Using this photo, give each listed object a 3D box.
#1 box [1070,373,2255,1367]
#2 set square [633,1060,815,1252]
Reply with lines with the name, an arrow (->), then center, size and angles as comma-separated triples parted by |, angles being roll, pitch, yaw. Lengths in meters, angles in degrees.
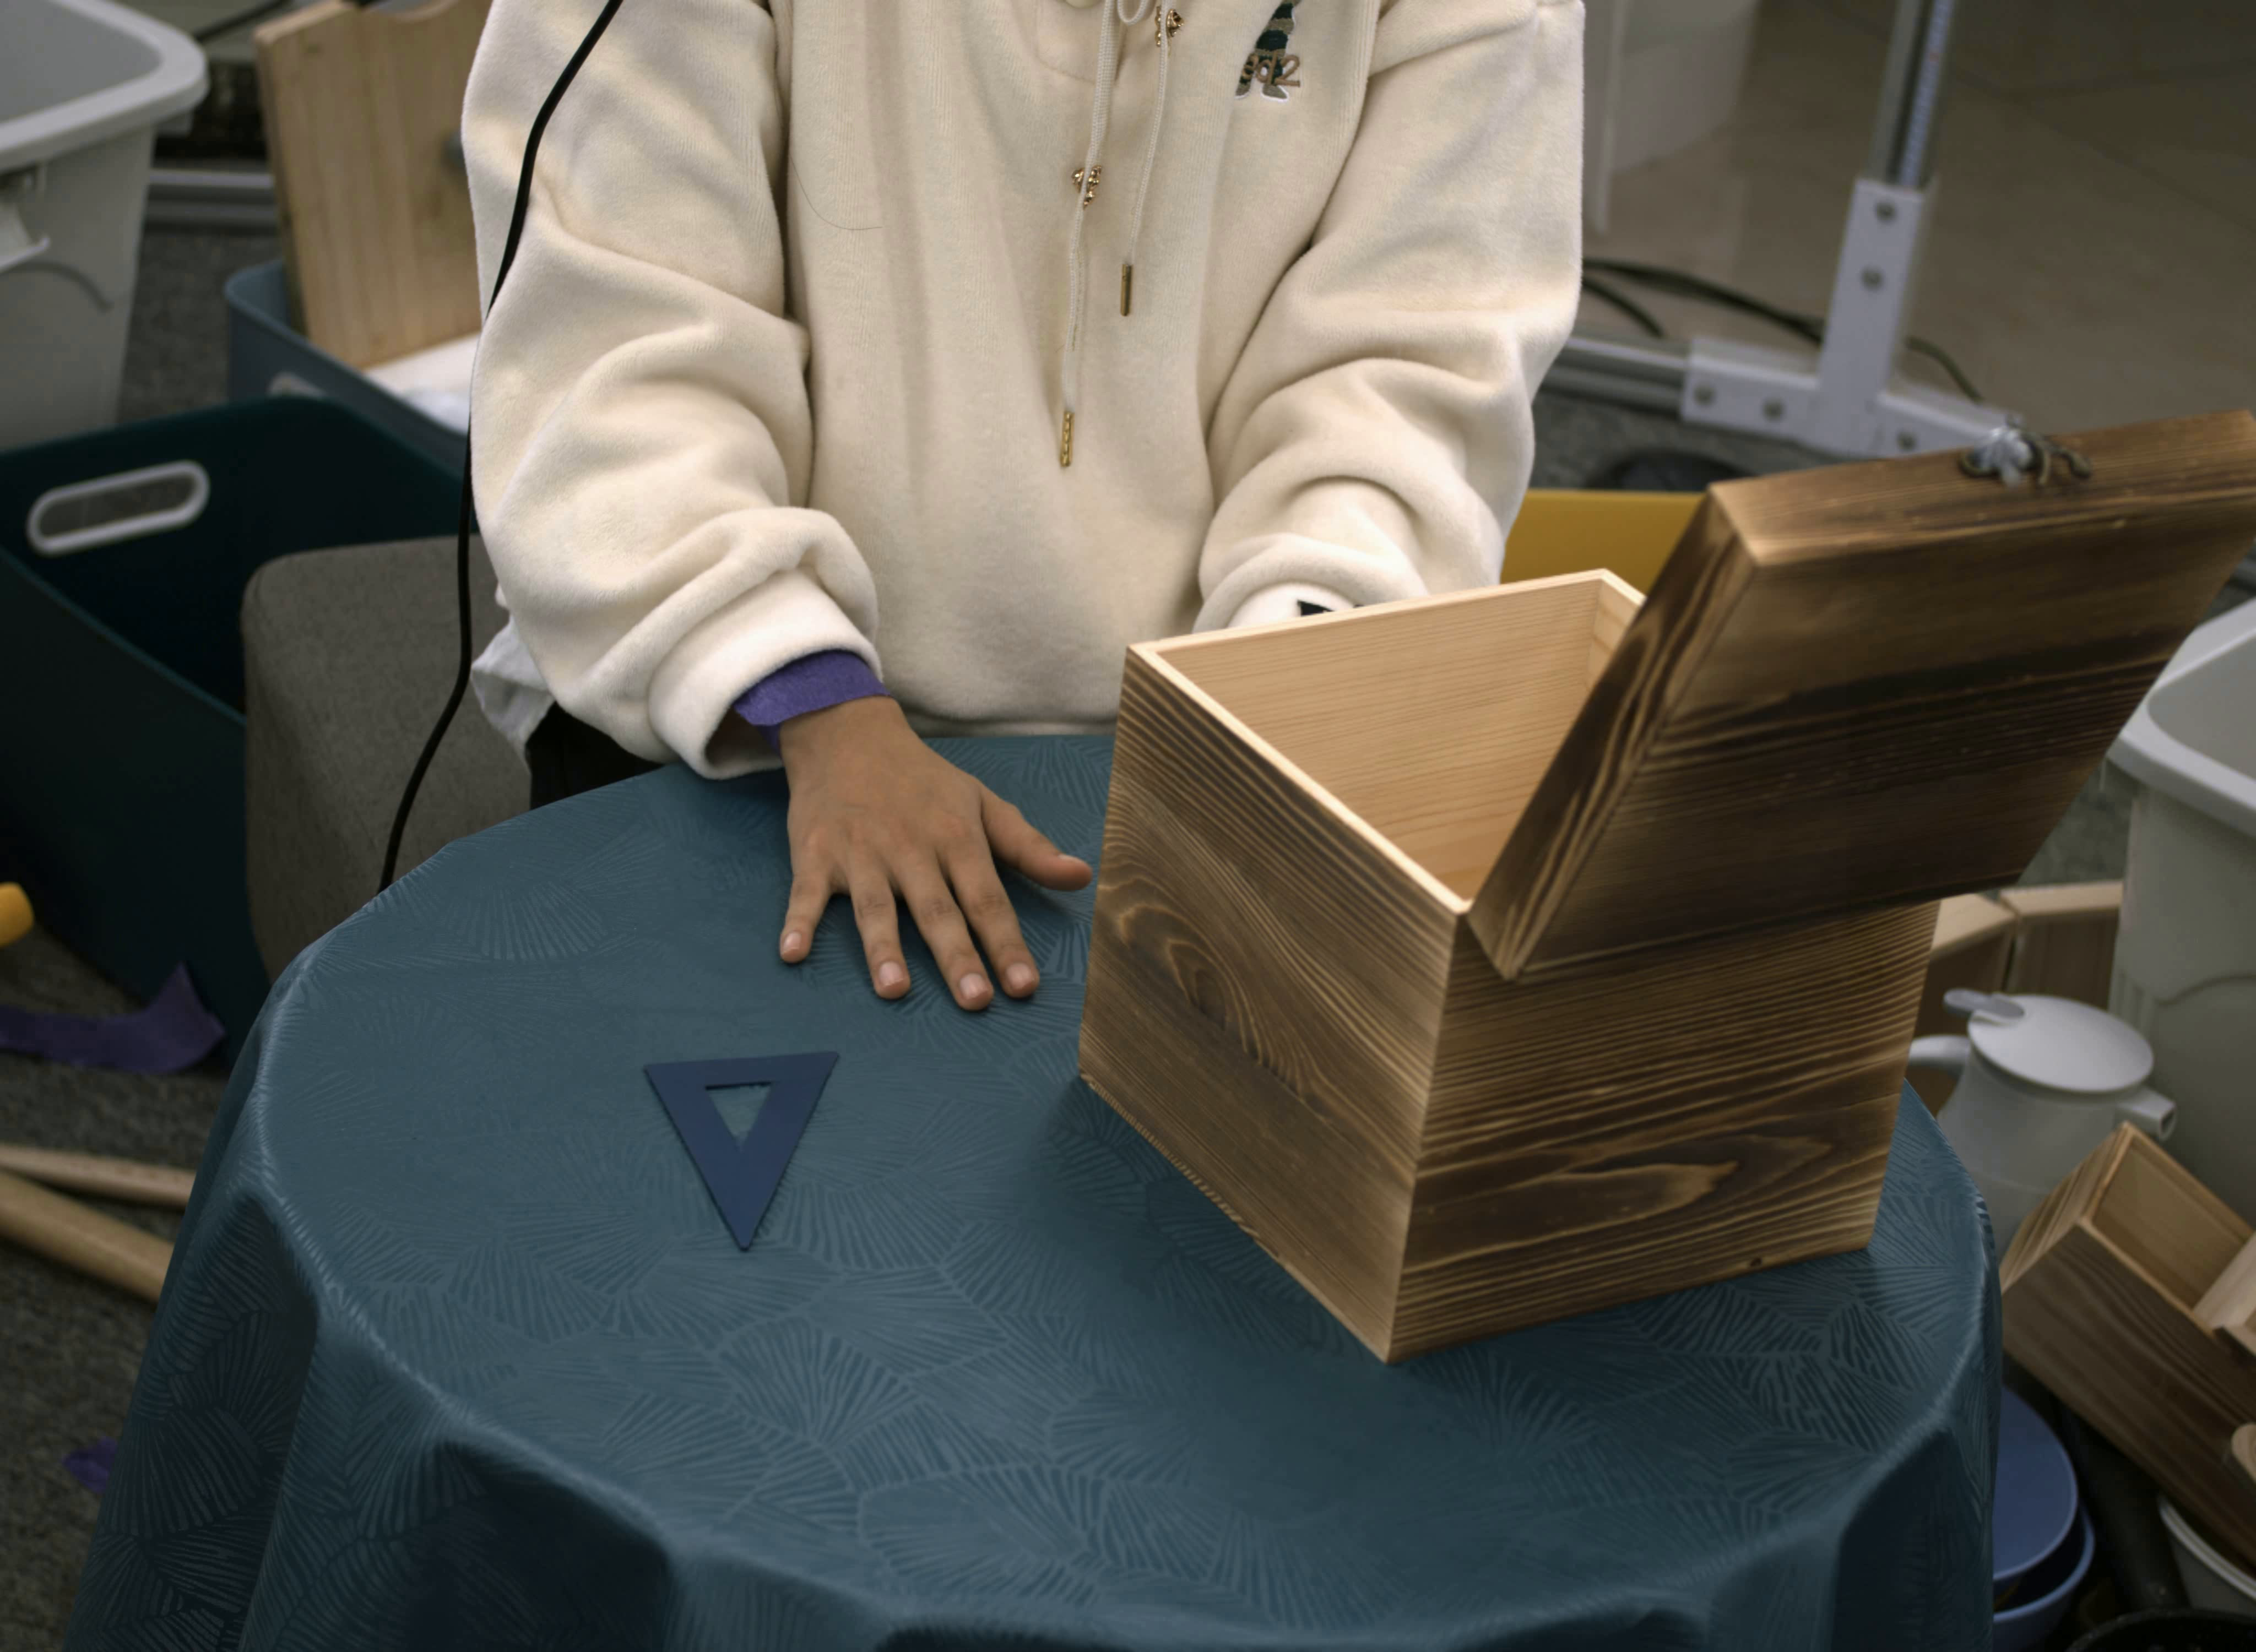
box -> 0.165, -0.019, 1.726 | 0.207, 0.374, 0.325 | -9, 31, -30
set square -> -0.150, 0.106, 1.799 | 0.061, 0.006, 0.132 | 13, 27, 9
